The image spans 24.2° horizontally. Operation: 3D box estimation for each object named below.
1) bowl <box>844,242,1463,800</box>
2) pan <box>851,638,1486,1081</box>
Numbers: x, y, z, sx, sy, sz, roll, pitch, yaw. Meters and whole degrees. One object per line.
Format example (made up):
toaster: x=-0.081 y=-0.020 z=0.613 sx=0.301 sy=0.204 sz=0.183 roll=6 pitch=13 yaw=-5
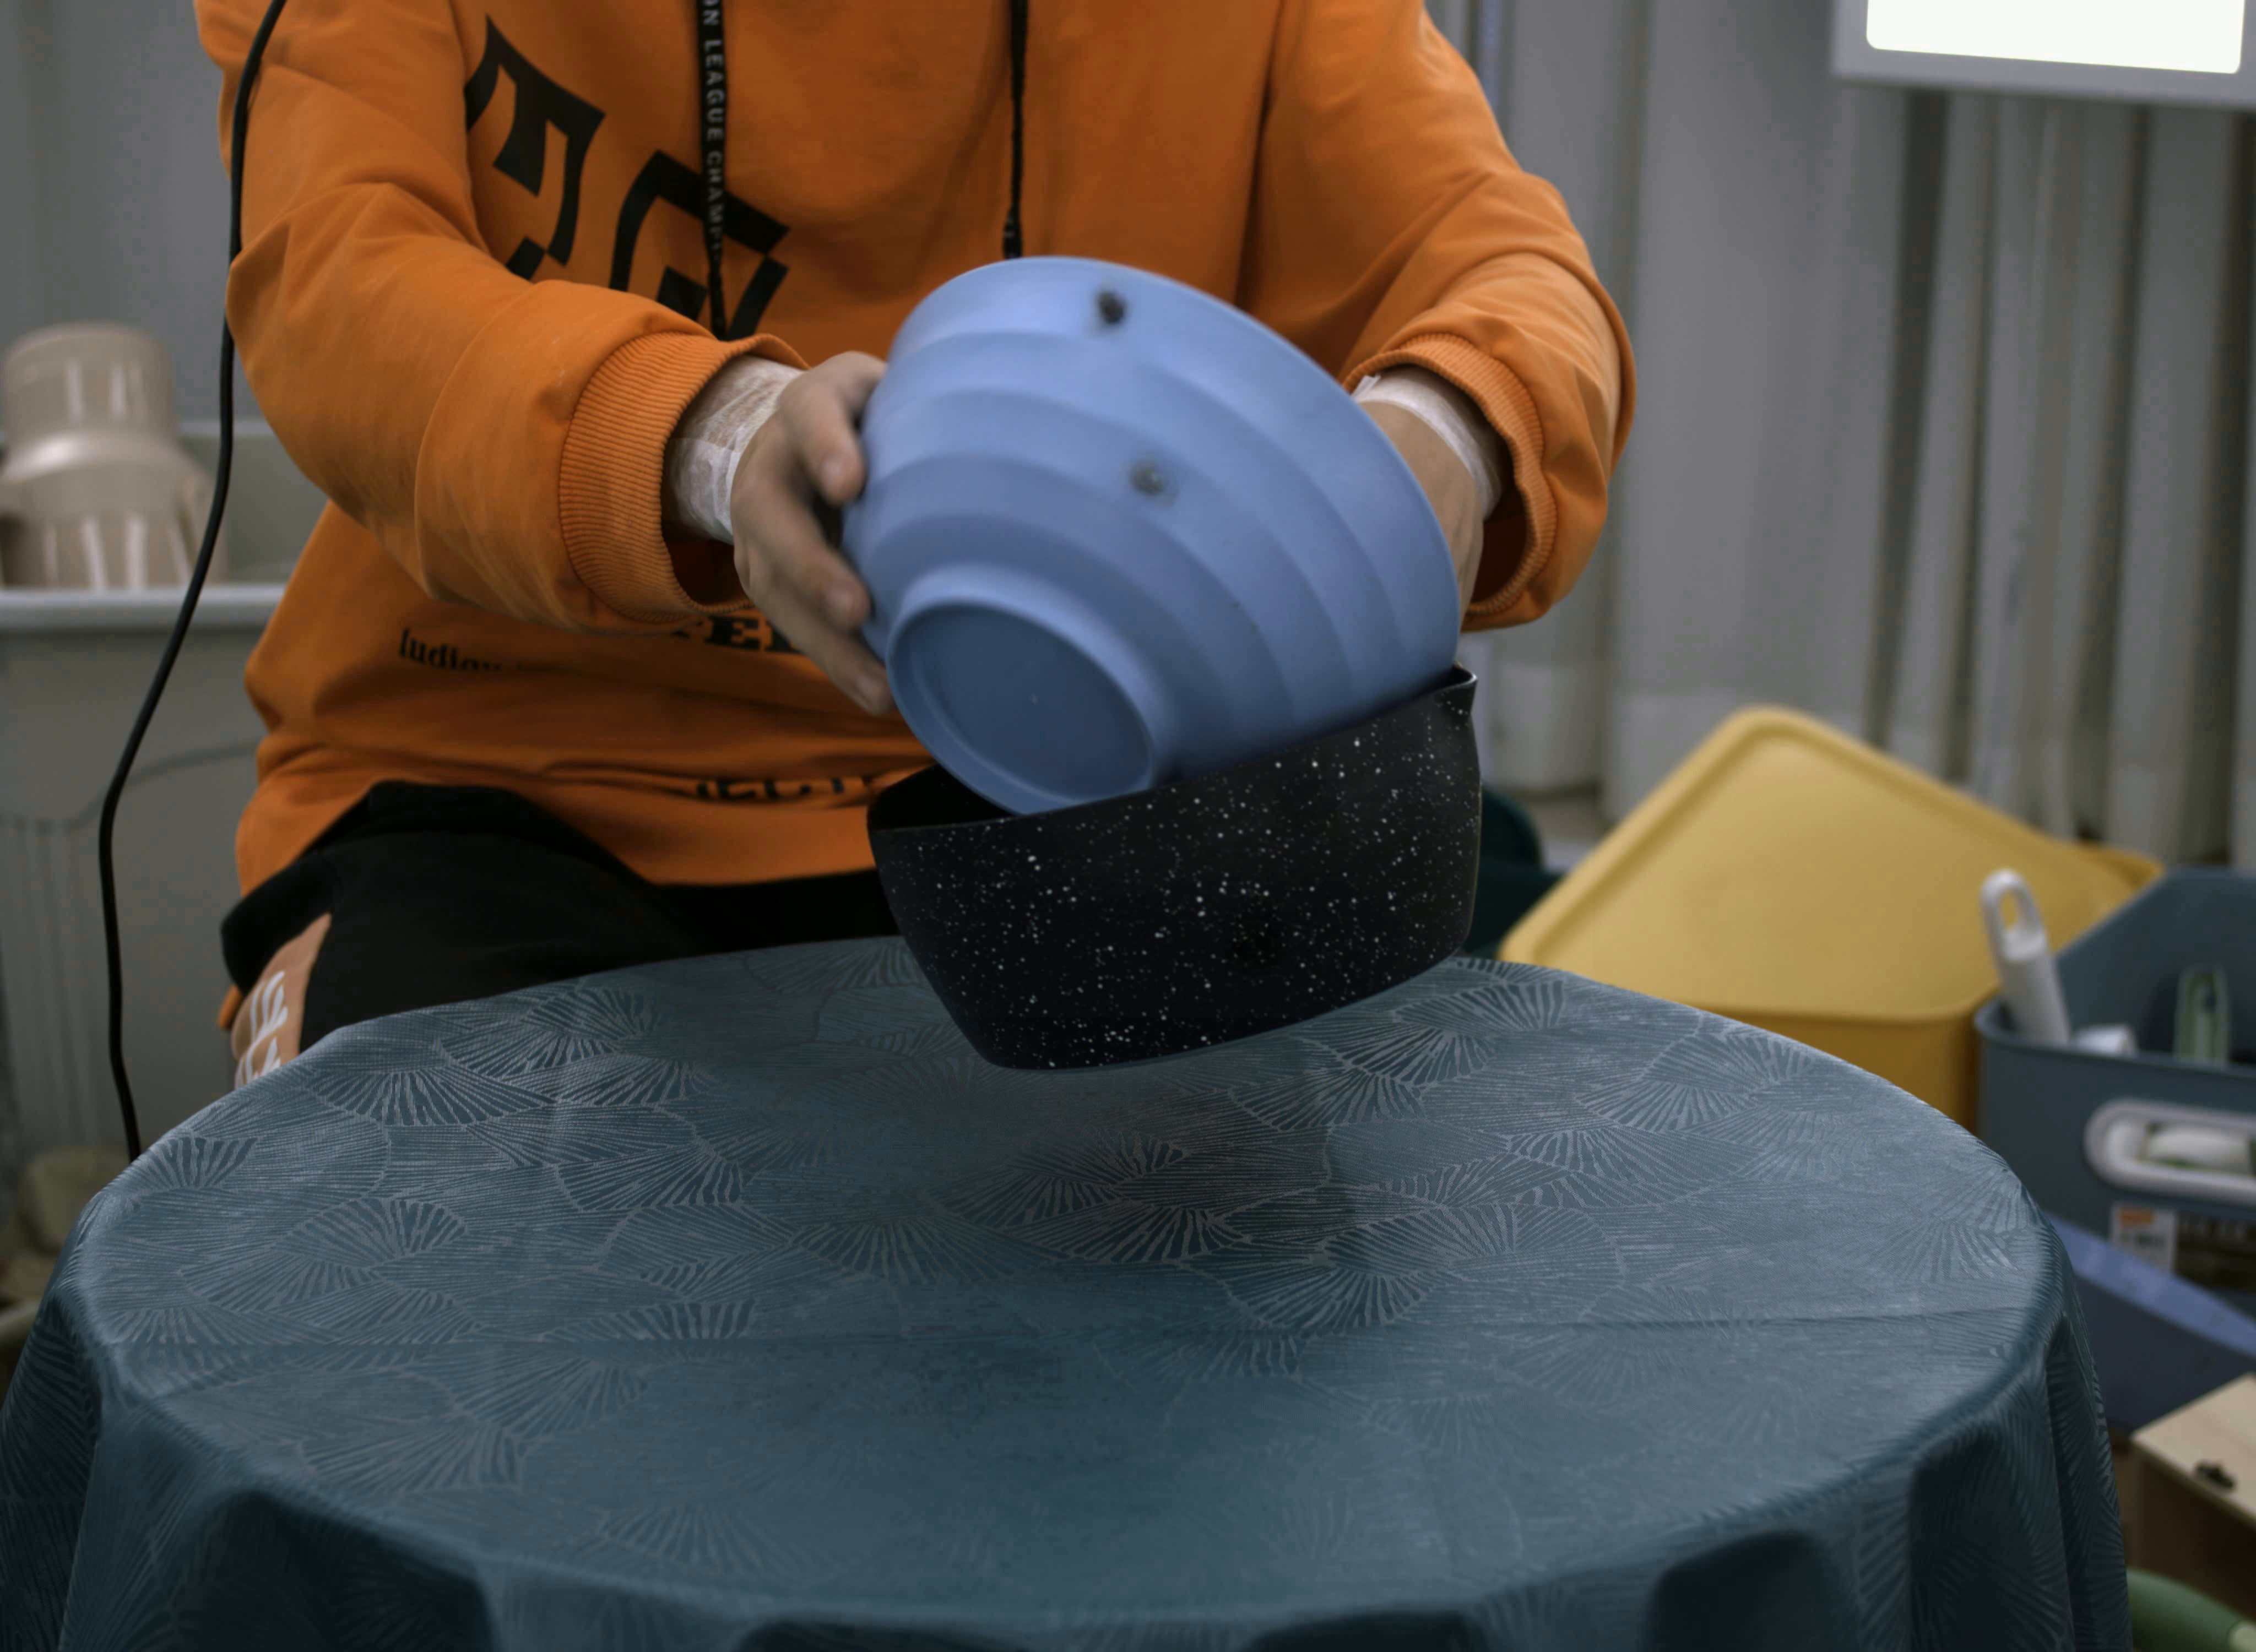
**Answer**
bowl: x=-0.009 y=-0.065 z=1.555 sx=0.194 sy=0.199 sz=0.095 roll=11 pitch=46 yaw=31
pan: x=0.037 y=-0.018 z=1.655 sx=0.206 sy=0.109 sz=0.342 roll=-12 pitch=11 yaw=18
